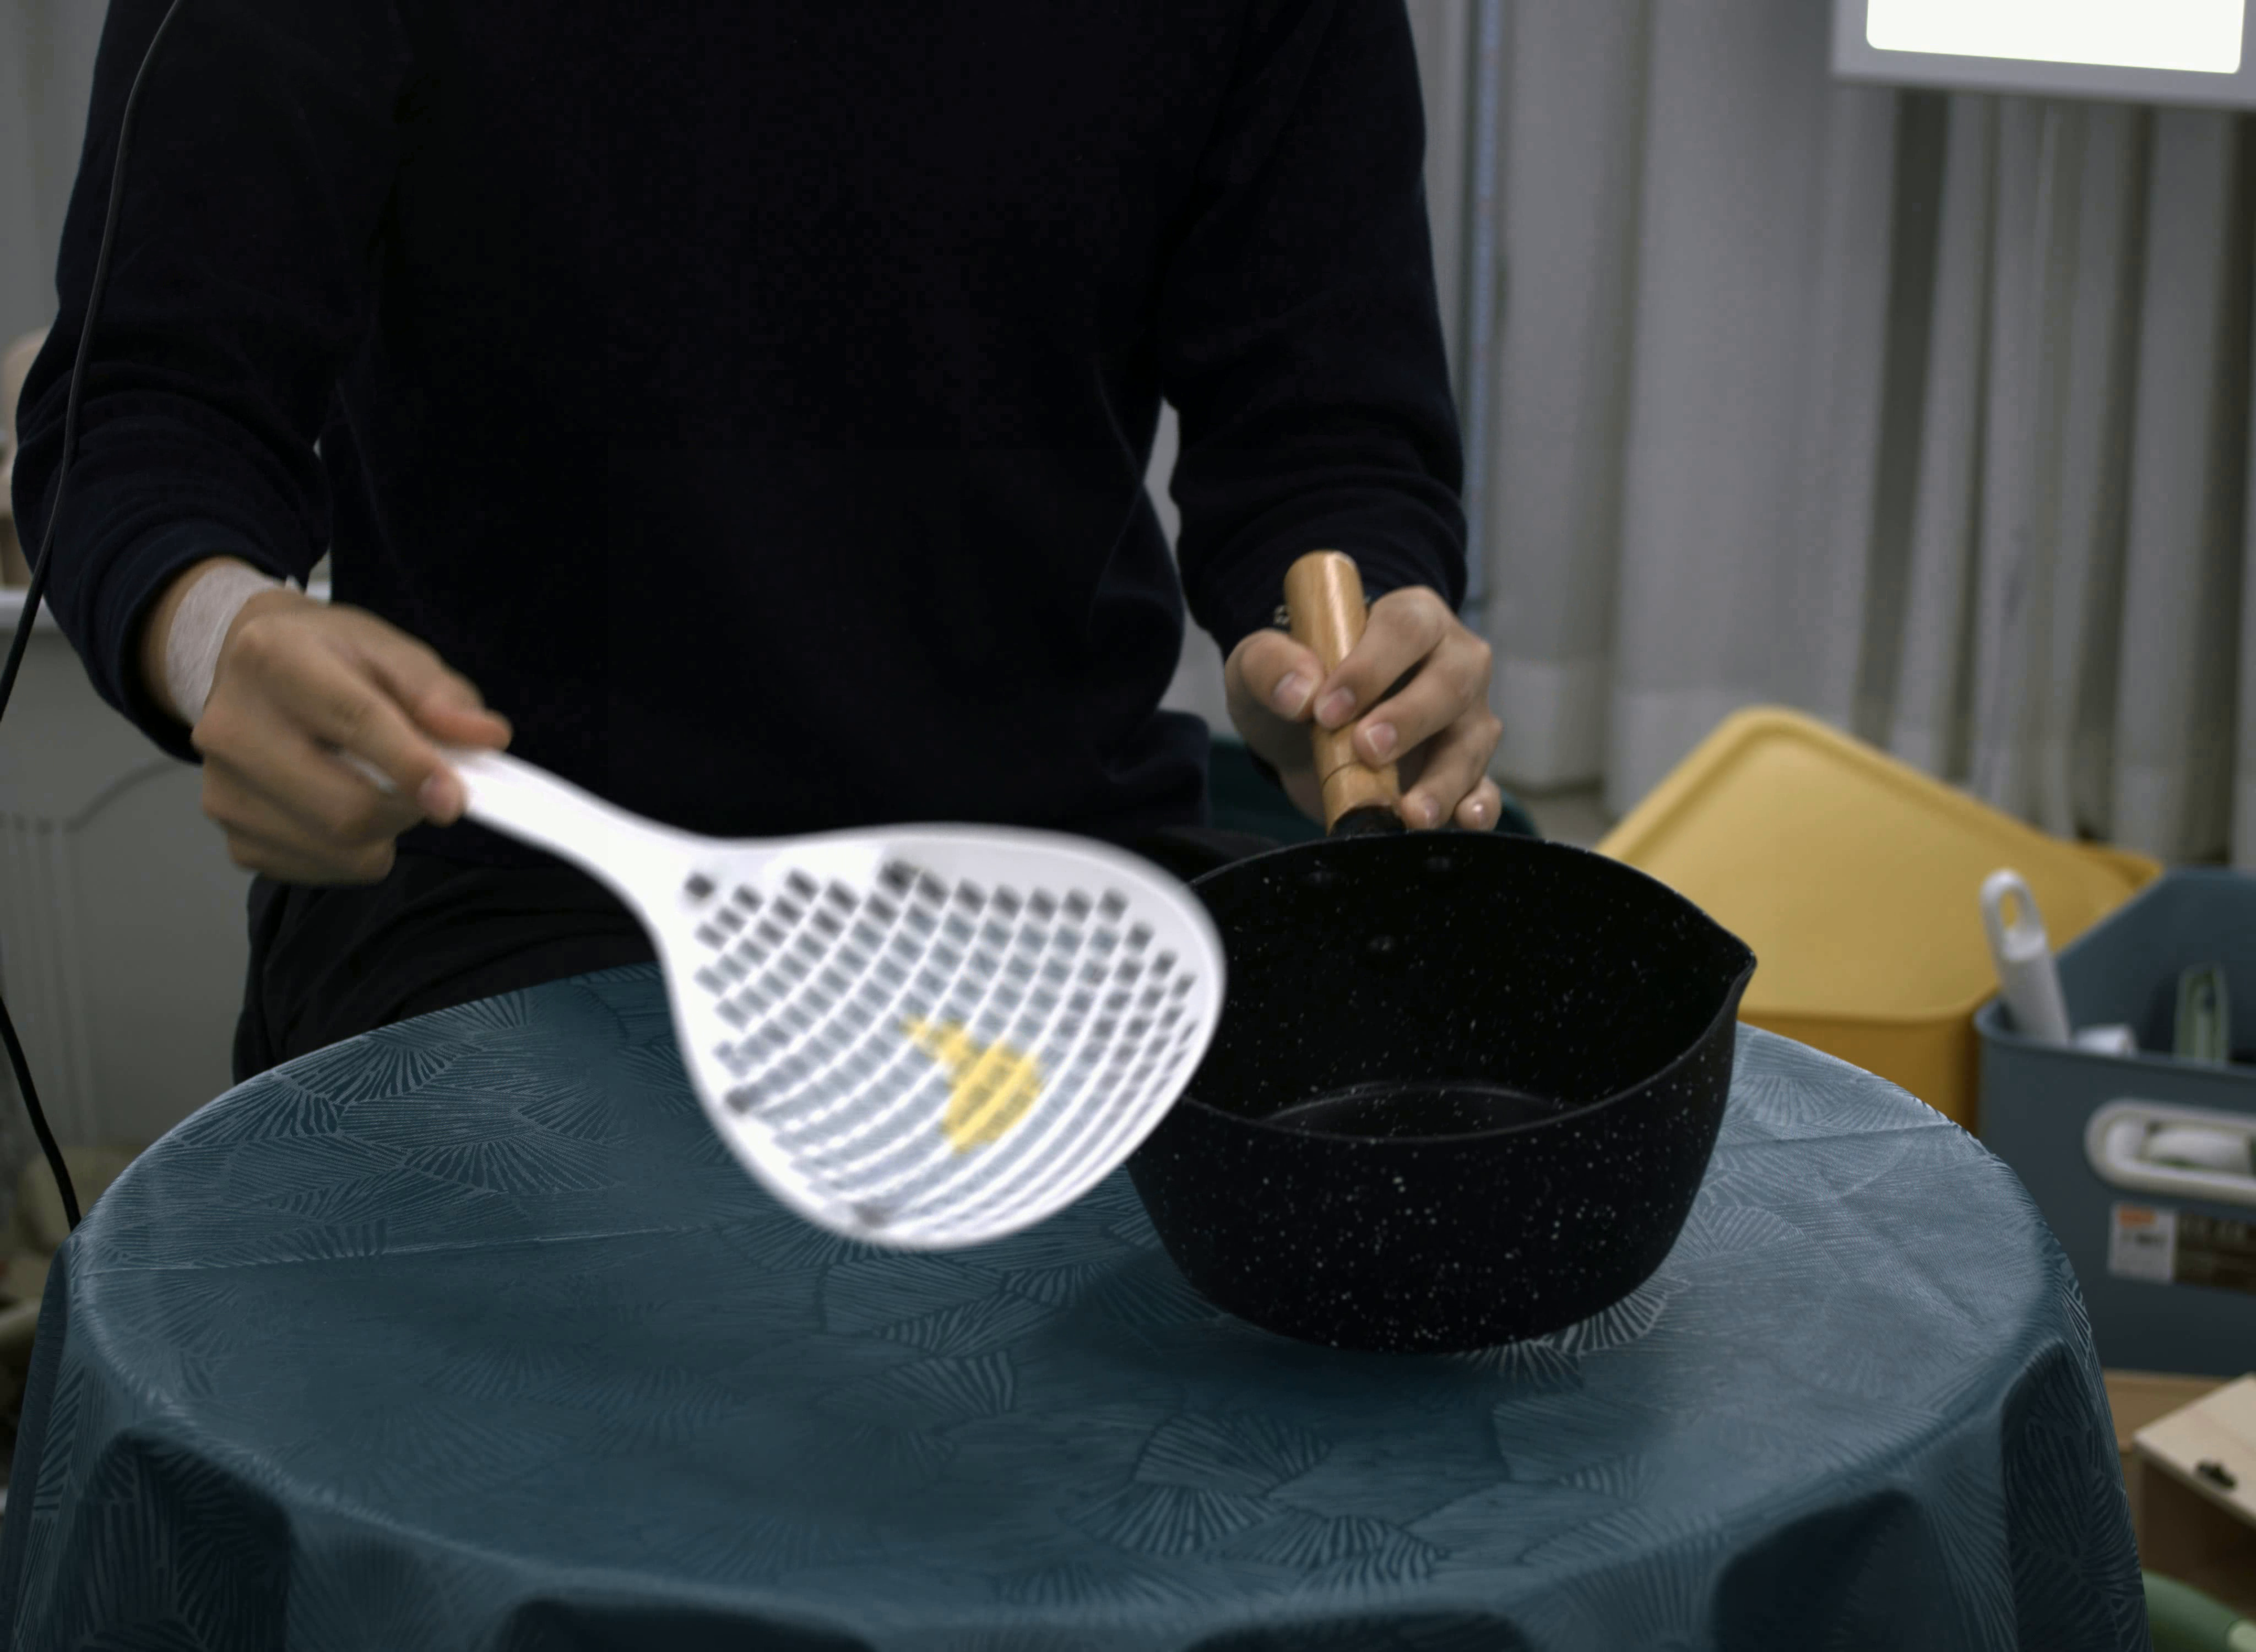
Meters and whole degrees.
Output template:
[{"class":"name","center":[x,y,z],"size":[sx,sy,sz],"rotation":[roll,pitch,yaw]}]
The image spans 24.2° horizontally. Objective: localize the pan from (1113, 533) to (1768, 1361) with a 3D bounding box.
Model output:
[{"class":"pan","center":[0.077,0.032,1.597],"size":[0.207,0.109,0.339],"rotation":[-6,30,-3]}]

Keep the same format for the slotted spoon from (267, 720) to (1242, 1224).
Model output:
[{"class":"slotted spoon","center":[-0.117,0.018,1.463],"size":[0.343,0.051,0.136],"rotation":[25,66,29]}]
